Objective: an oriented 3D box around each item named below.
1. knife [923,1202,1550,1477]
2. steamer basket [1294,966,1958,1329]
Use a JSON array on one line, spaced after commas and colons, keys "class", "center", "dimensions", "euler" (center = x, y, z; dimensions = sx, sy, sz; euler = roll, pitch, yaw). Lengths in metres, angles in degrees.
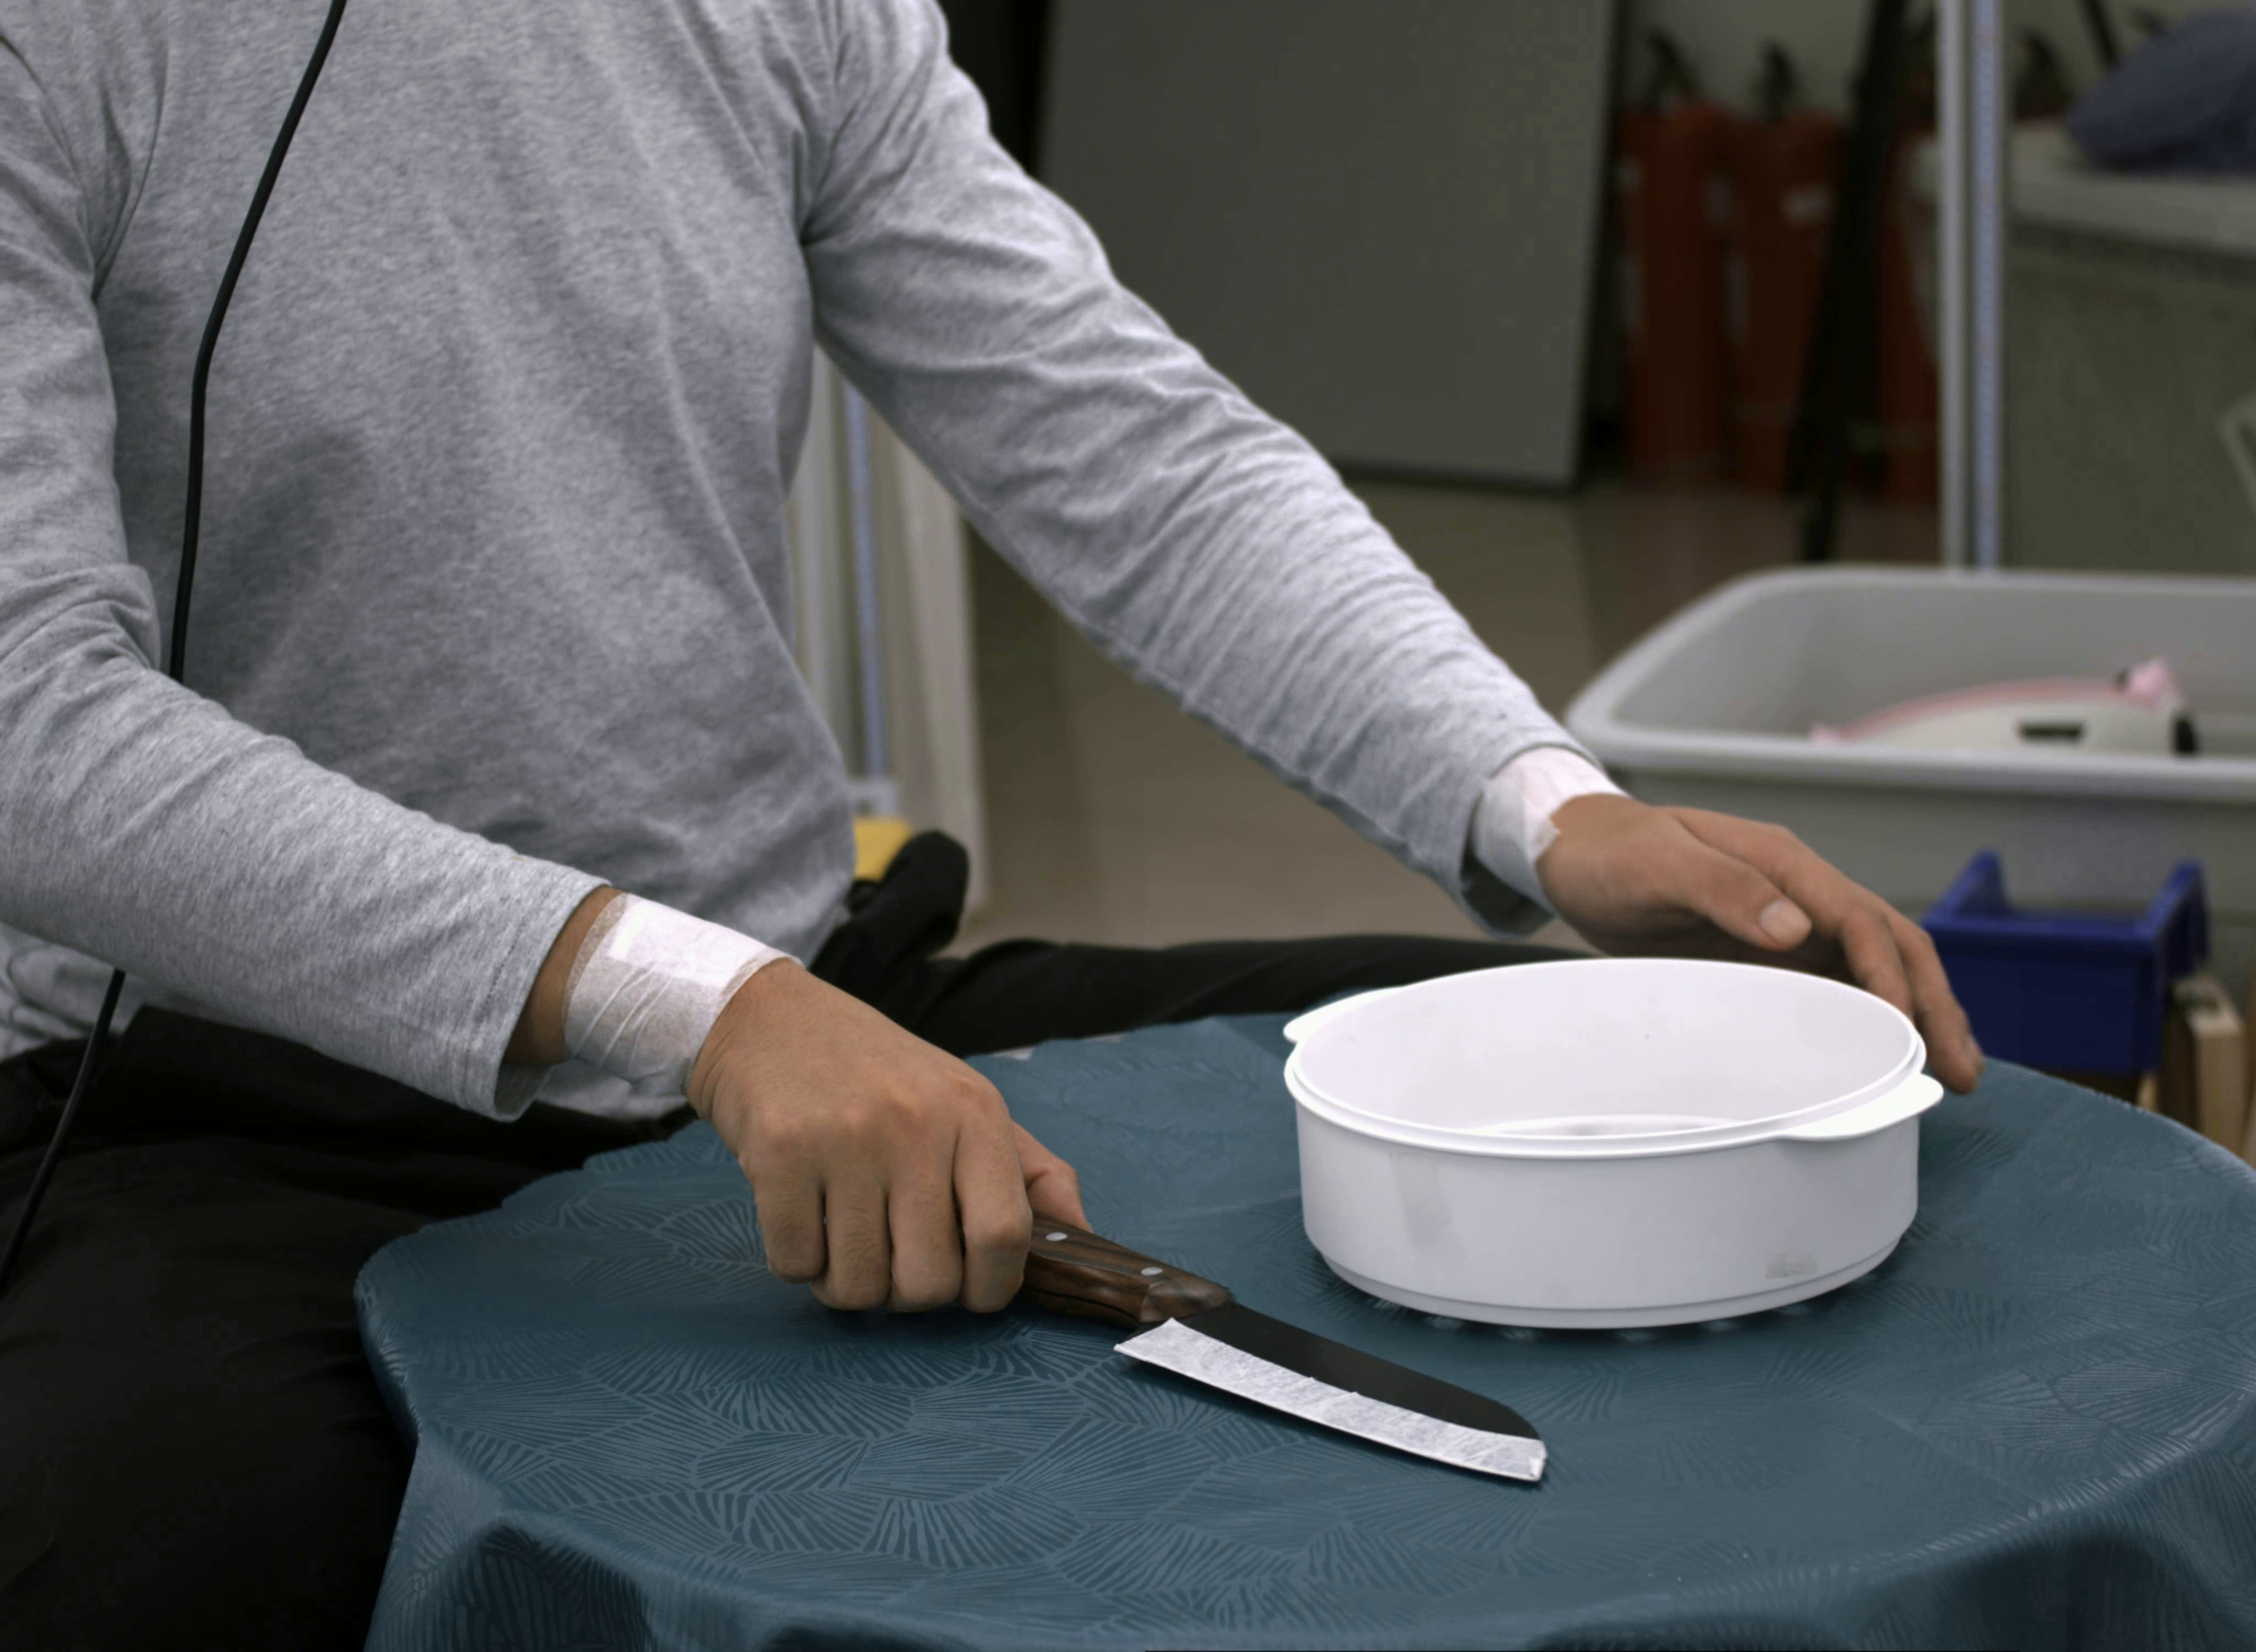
[{"class": "knife", "center": [0.028, 0.153, 1.601], "dimensions": [0.049, 0.020, 0.292], "euler": [-20, 22, -33]}, {"class": "steamer basket", "center": [0.153, 0.100, 1.675], "dimensions": [0.232, 0.070, 0.198], "euler": [7, 17, 43]}]
